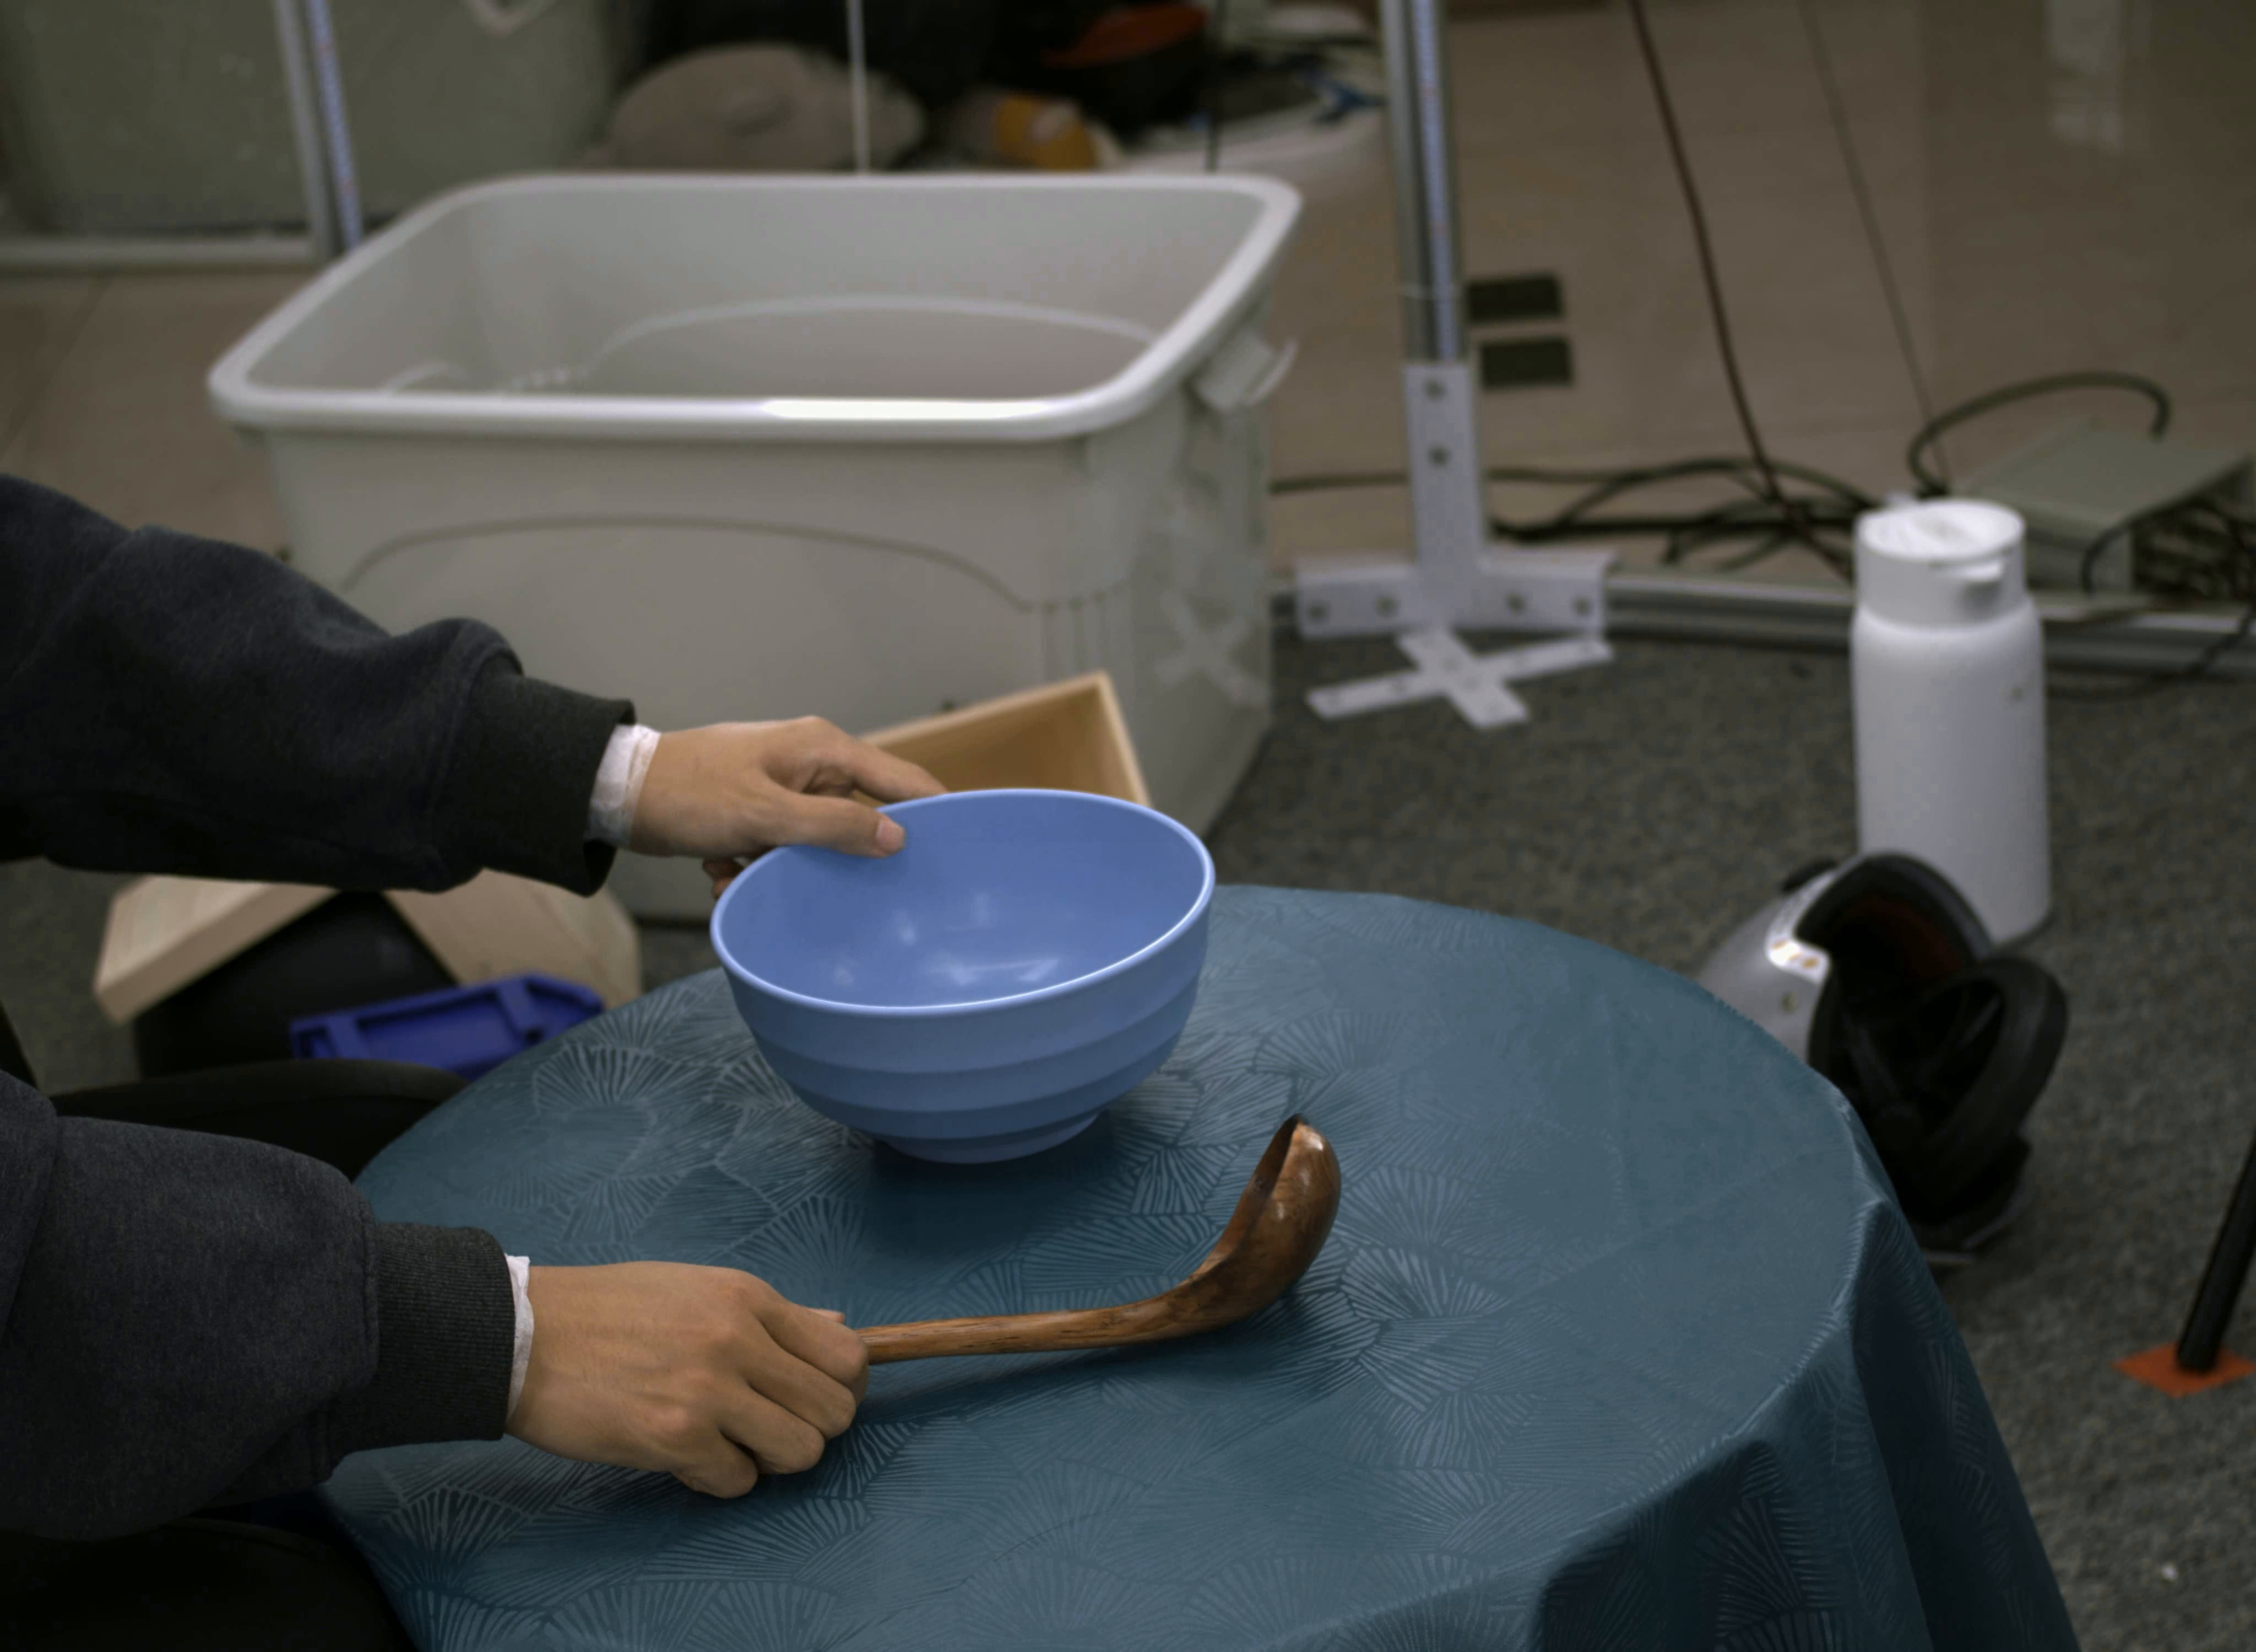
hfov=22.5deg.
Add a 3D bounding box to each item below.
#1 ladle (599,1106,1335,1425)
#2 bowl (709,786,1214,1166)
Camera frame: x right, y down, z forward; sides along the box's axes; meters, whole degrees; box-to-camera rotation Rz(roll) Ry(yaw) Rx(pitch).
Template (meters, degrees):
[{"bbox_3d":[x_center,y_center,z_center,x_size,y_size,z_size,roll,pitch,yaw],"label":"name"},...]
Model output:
[{"bbox_3d":[-0.058,0.155,2.028,0.273,0.076,0.082,-8,-10,-7],"label":"ladle"},{"bbox_3d":[-0.059,0.069,2.199,0.196,0.097,0.193,-6,26,3],"label":"bowl"}]
